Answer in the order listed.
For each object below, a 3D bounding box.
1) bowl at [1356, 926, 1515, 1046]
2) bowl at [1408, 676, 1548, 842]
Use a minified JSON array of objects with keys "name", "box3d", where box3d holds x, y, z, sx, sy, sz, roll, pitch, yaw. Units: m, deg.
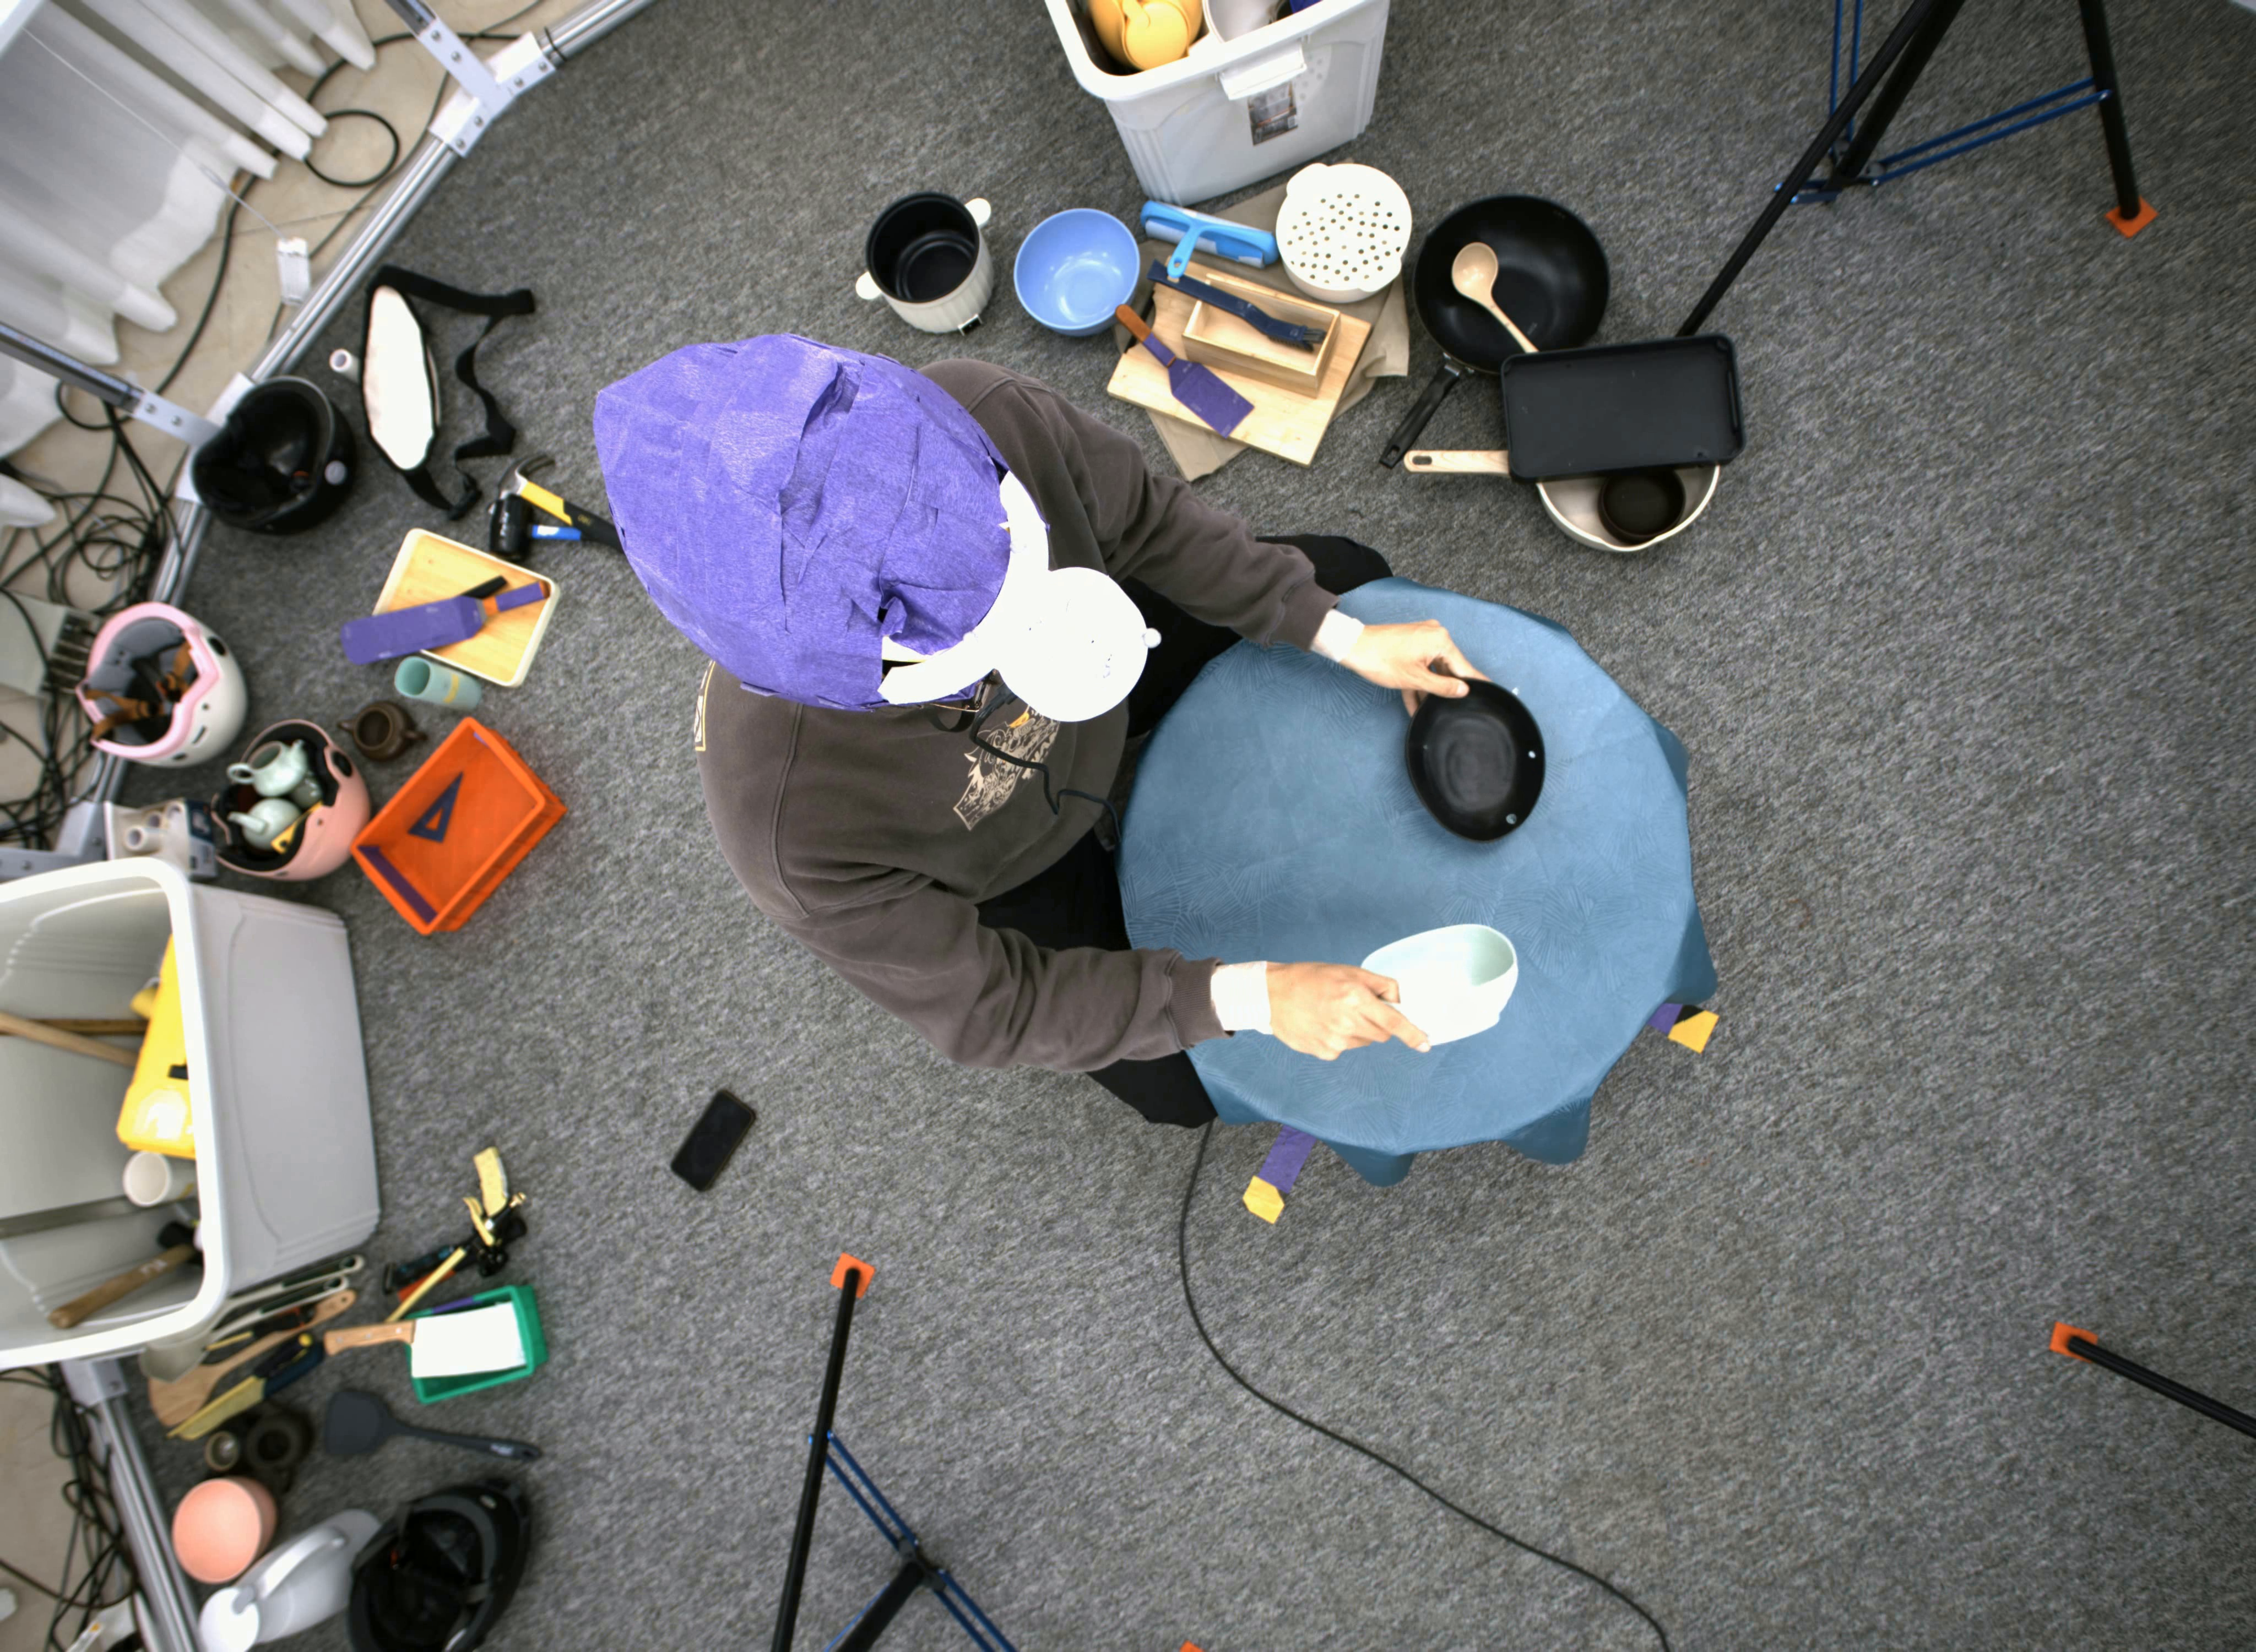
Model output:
[{"name":"bowl","box3d":[0.283,0.150,1.261,0.152,0.148,0.059,-12,112,9]},{"name":"bowl","box3d":[0.359,-0.071,1.413,0.138,0.066,0.170,-14,90,12]}]
